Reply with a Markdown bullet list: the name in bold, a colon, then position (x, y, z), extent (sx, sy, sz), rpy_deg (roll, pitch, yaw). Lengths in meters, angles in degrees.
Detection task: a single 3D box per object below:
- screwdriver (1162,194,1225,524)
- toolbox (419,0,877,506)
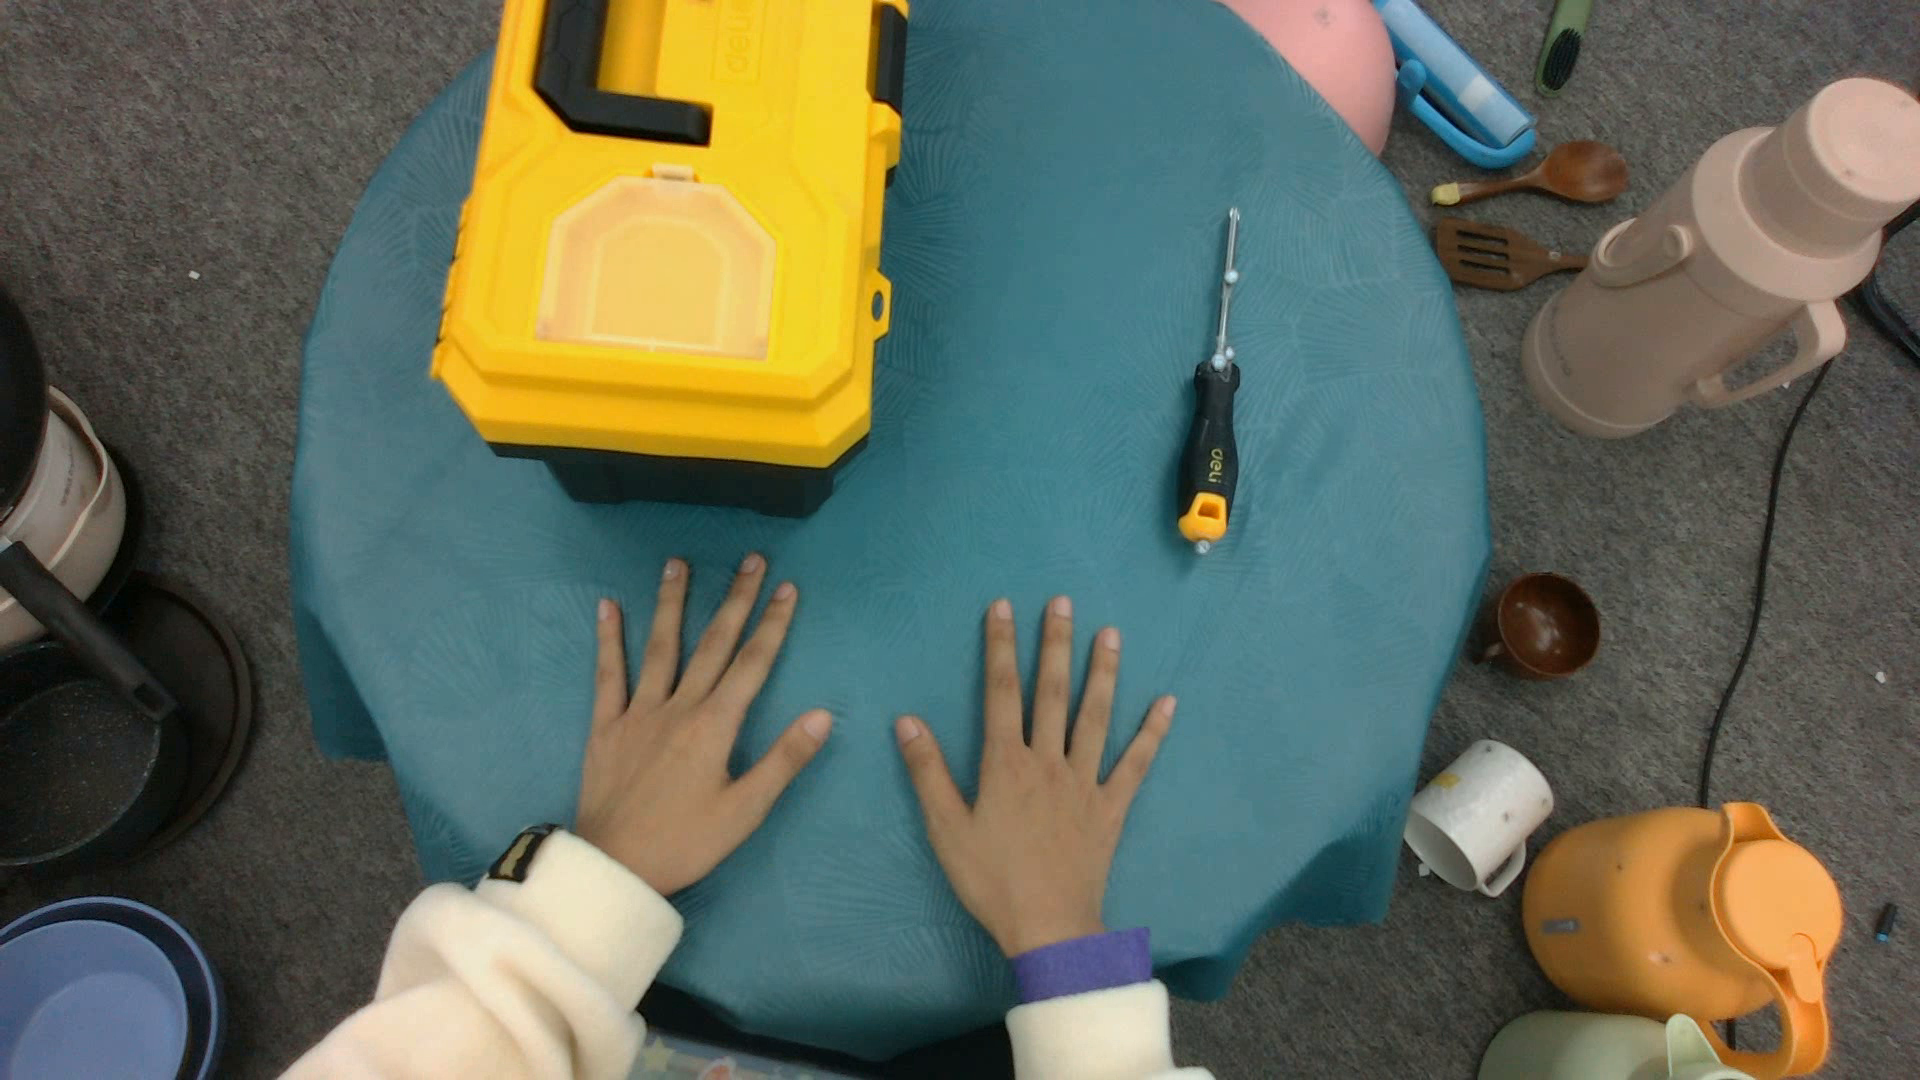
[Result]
- **screwdriver**: position (0.127, -0.100, 0.710), extent (0.031, 0.031, 0.197), rpy_deg (11, 70, -3)
- **toolbox**: position (-0.125, -0.194, 0.635), extent (0.181, 0.172, 0.352), rpy_deg (4, 72, -6)
